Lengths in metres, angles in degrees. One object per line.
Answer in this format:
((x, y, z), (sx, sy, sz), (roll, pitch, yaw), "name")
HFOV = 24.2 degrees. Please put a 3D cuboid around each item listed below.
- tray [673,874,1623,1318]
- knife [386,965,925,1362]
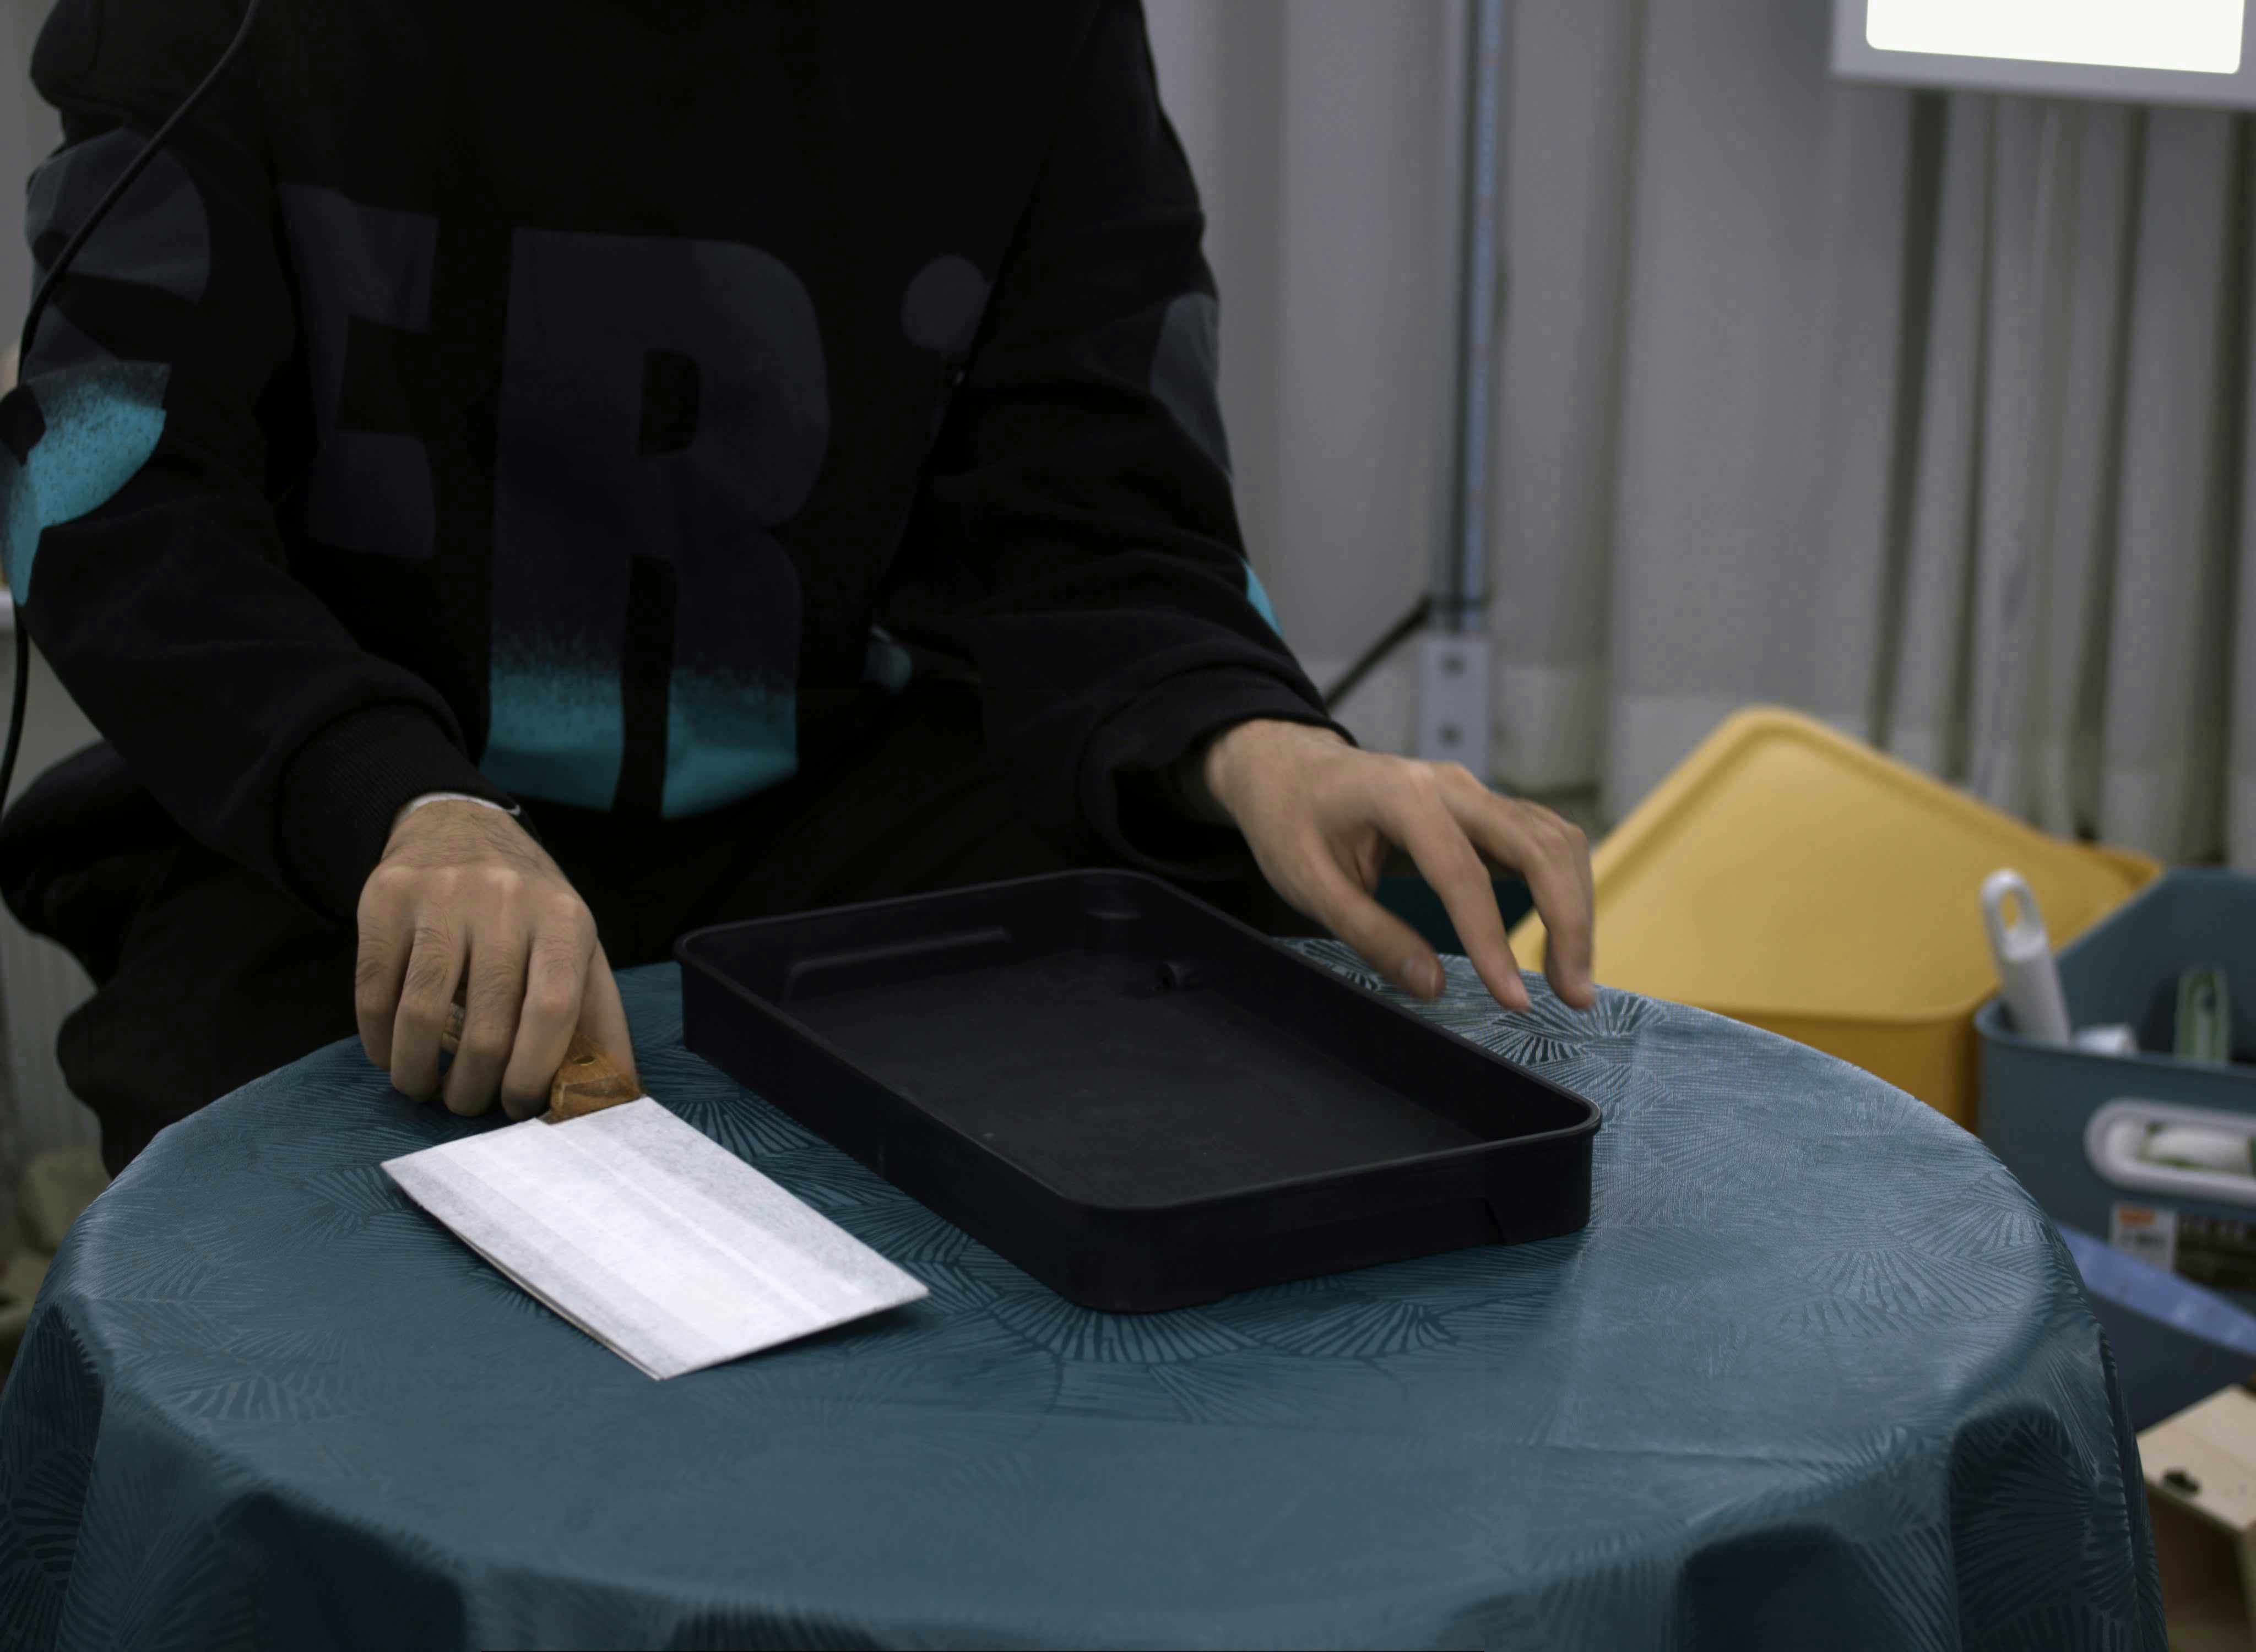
((0.000, 0.080, 1.673), (0.185, 0.037, 0.314), (-9, 18, -30), "tray")
((-0.171, 0.103, 1.610), (0.093, 0.021, 0.301), (-15, 24, -28), "knife")
